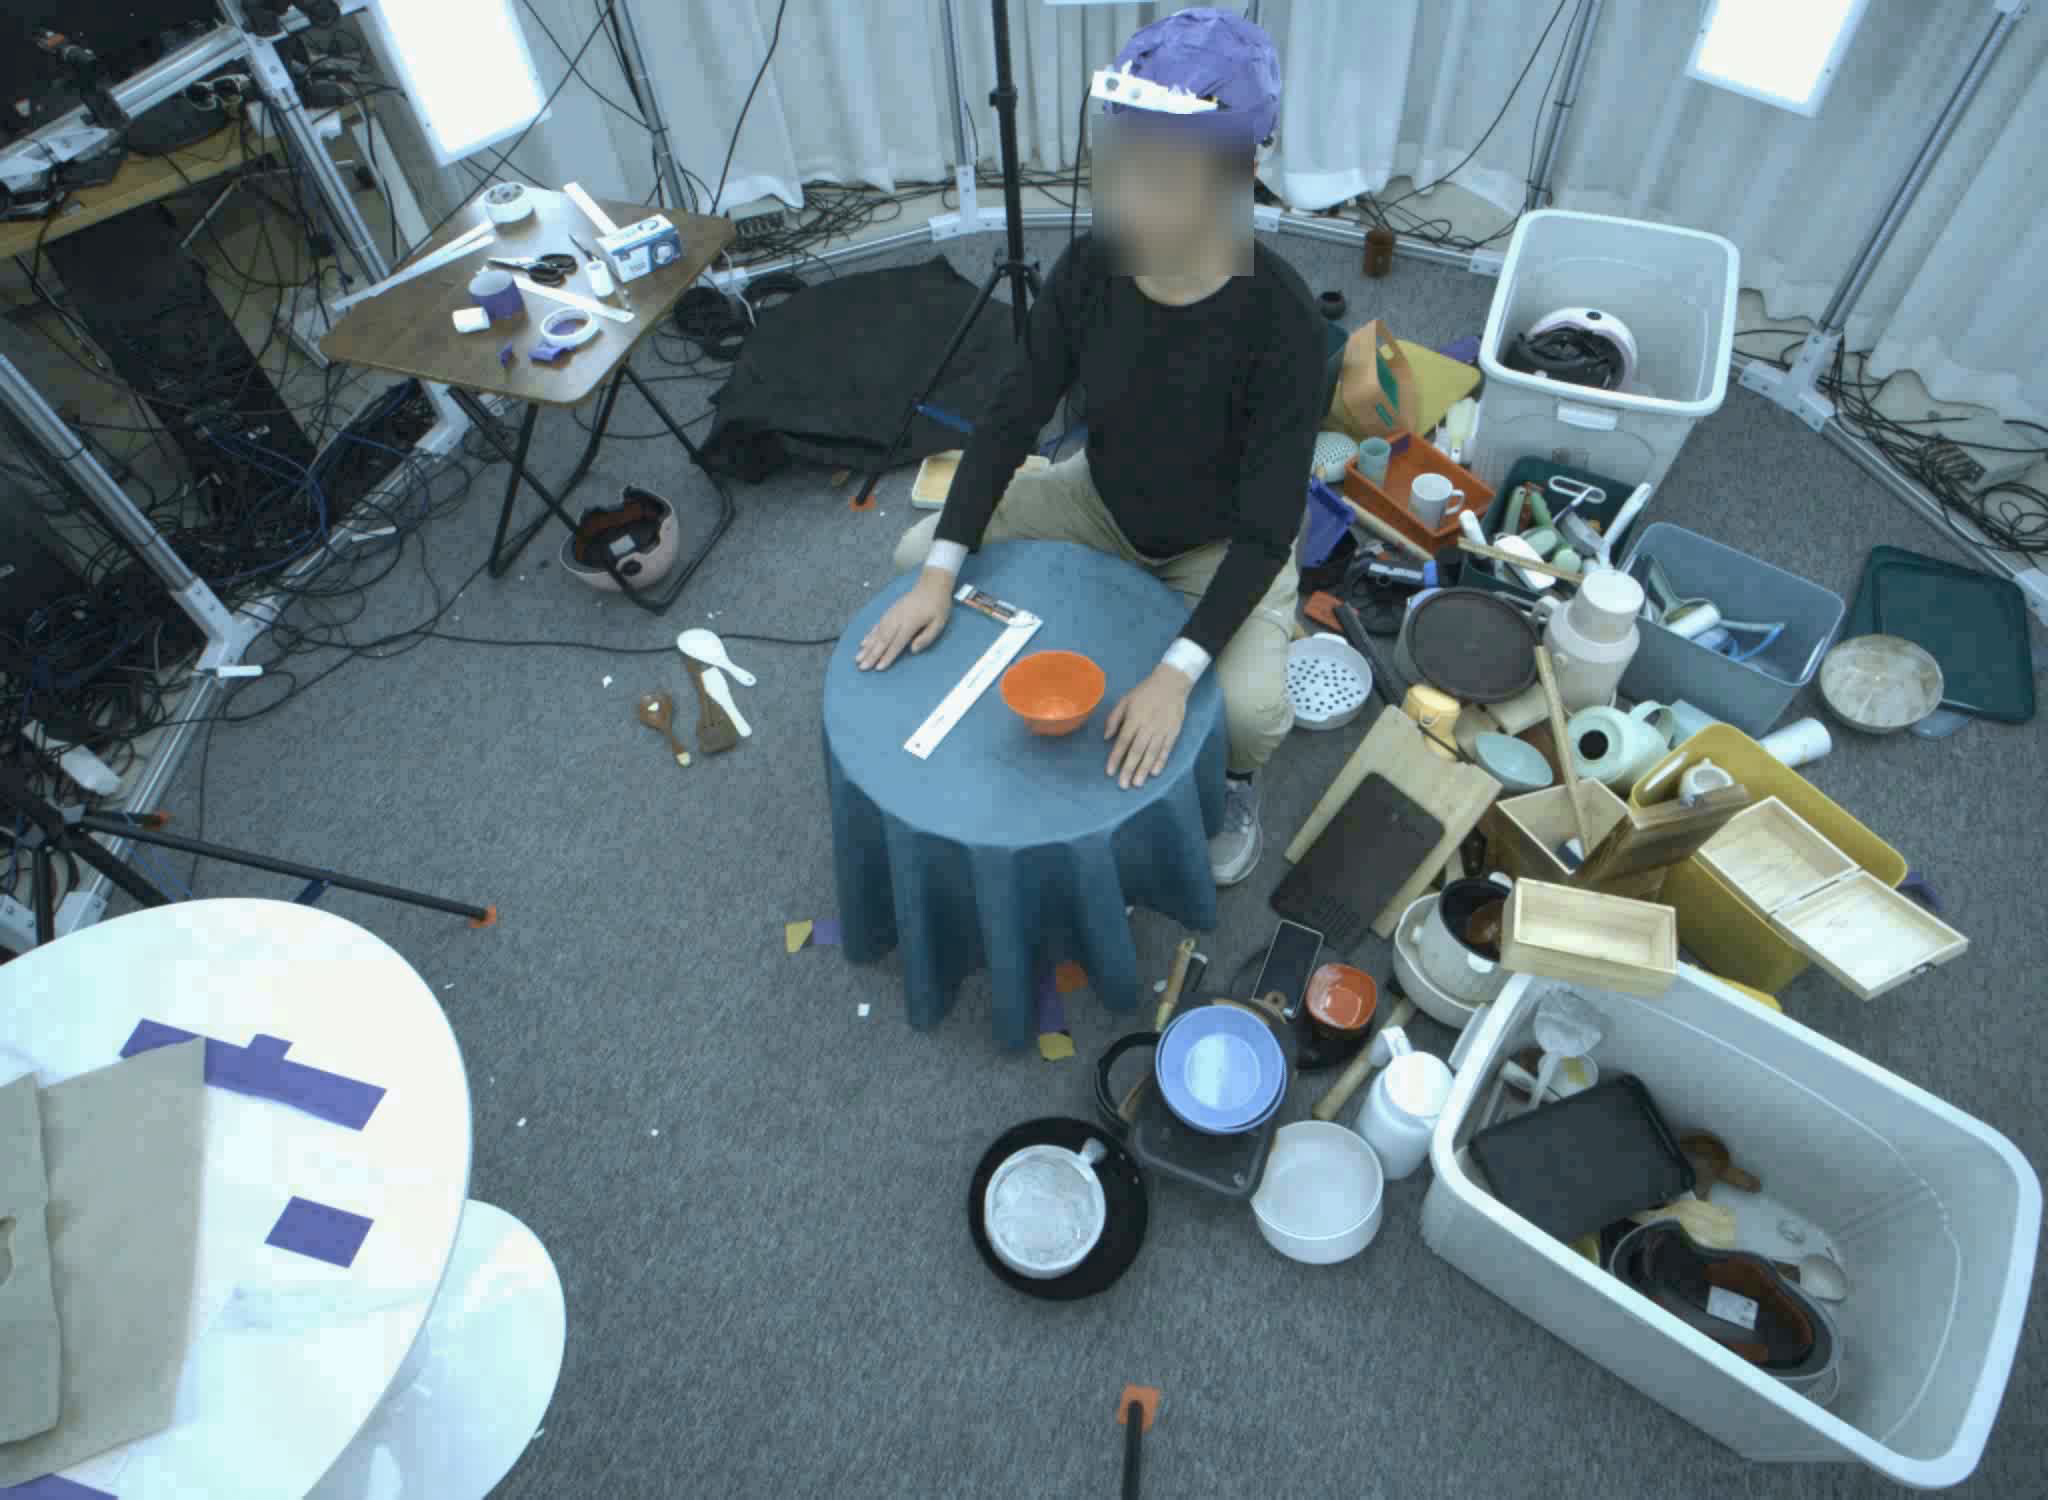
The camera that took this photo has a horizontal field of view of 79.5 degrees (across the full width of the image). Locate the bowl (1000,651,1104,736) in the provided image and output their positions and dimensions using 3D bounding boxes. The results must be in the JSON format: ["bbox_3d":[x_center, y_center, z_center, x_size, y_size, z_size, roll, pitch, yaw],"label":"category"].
[{"bbox_3d":[0.042,-0.068,1.773,0.148,0.106,0.146,-1,54,3],"label":"bowl"}]

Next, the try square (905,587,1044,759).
[{"bbox_3d":[-0.115,-0.124,1.880,0.149,0.016,0.314,26,61,24],"label":"try square"}]
